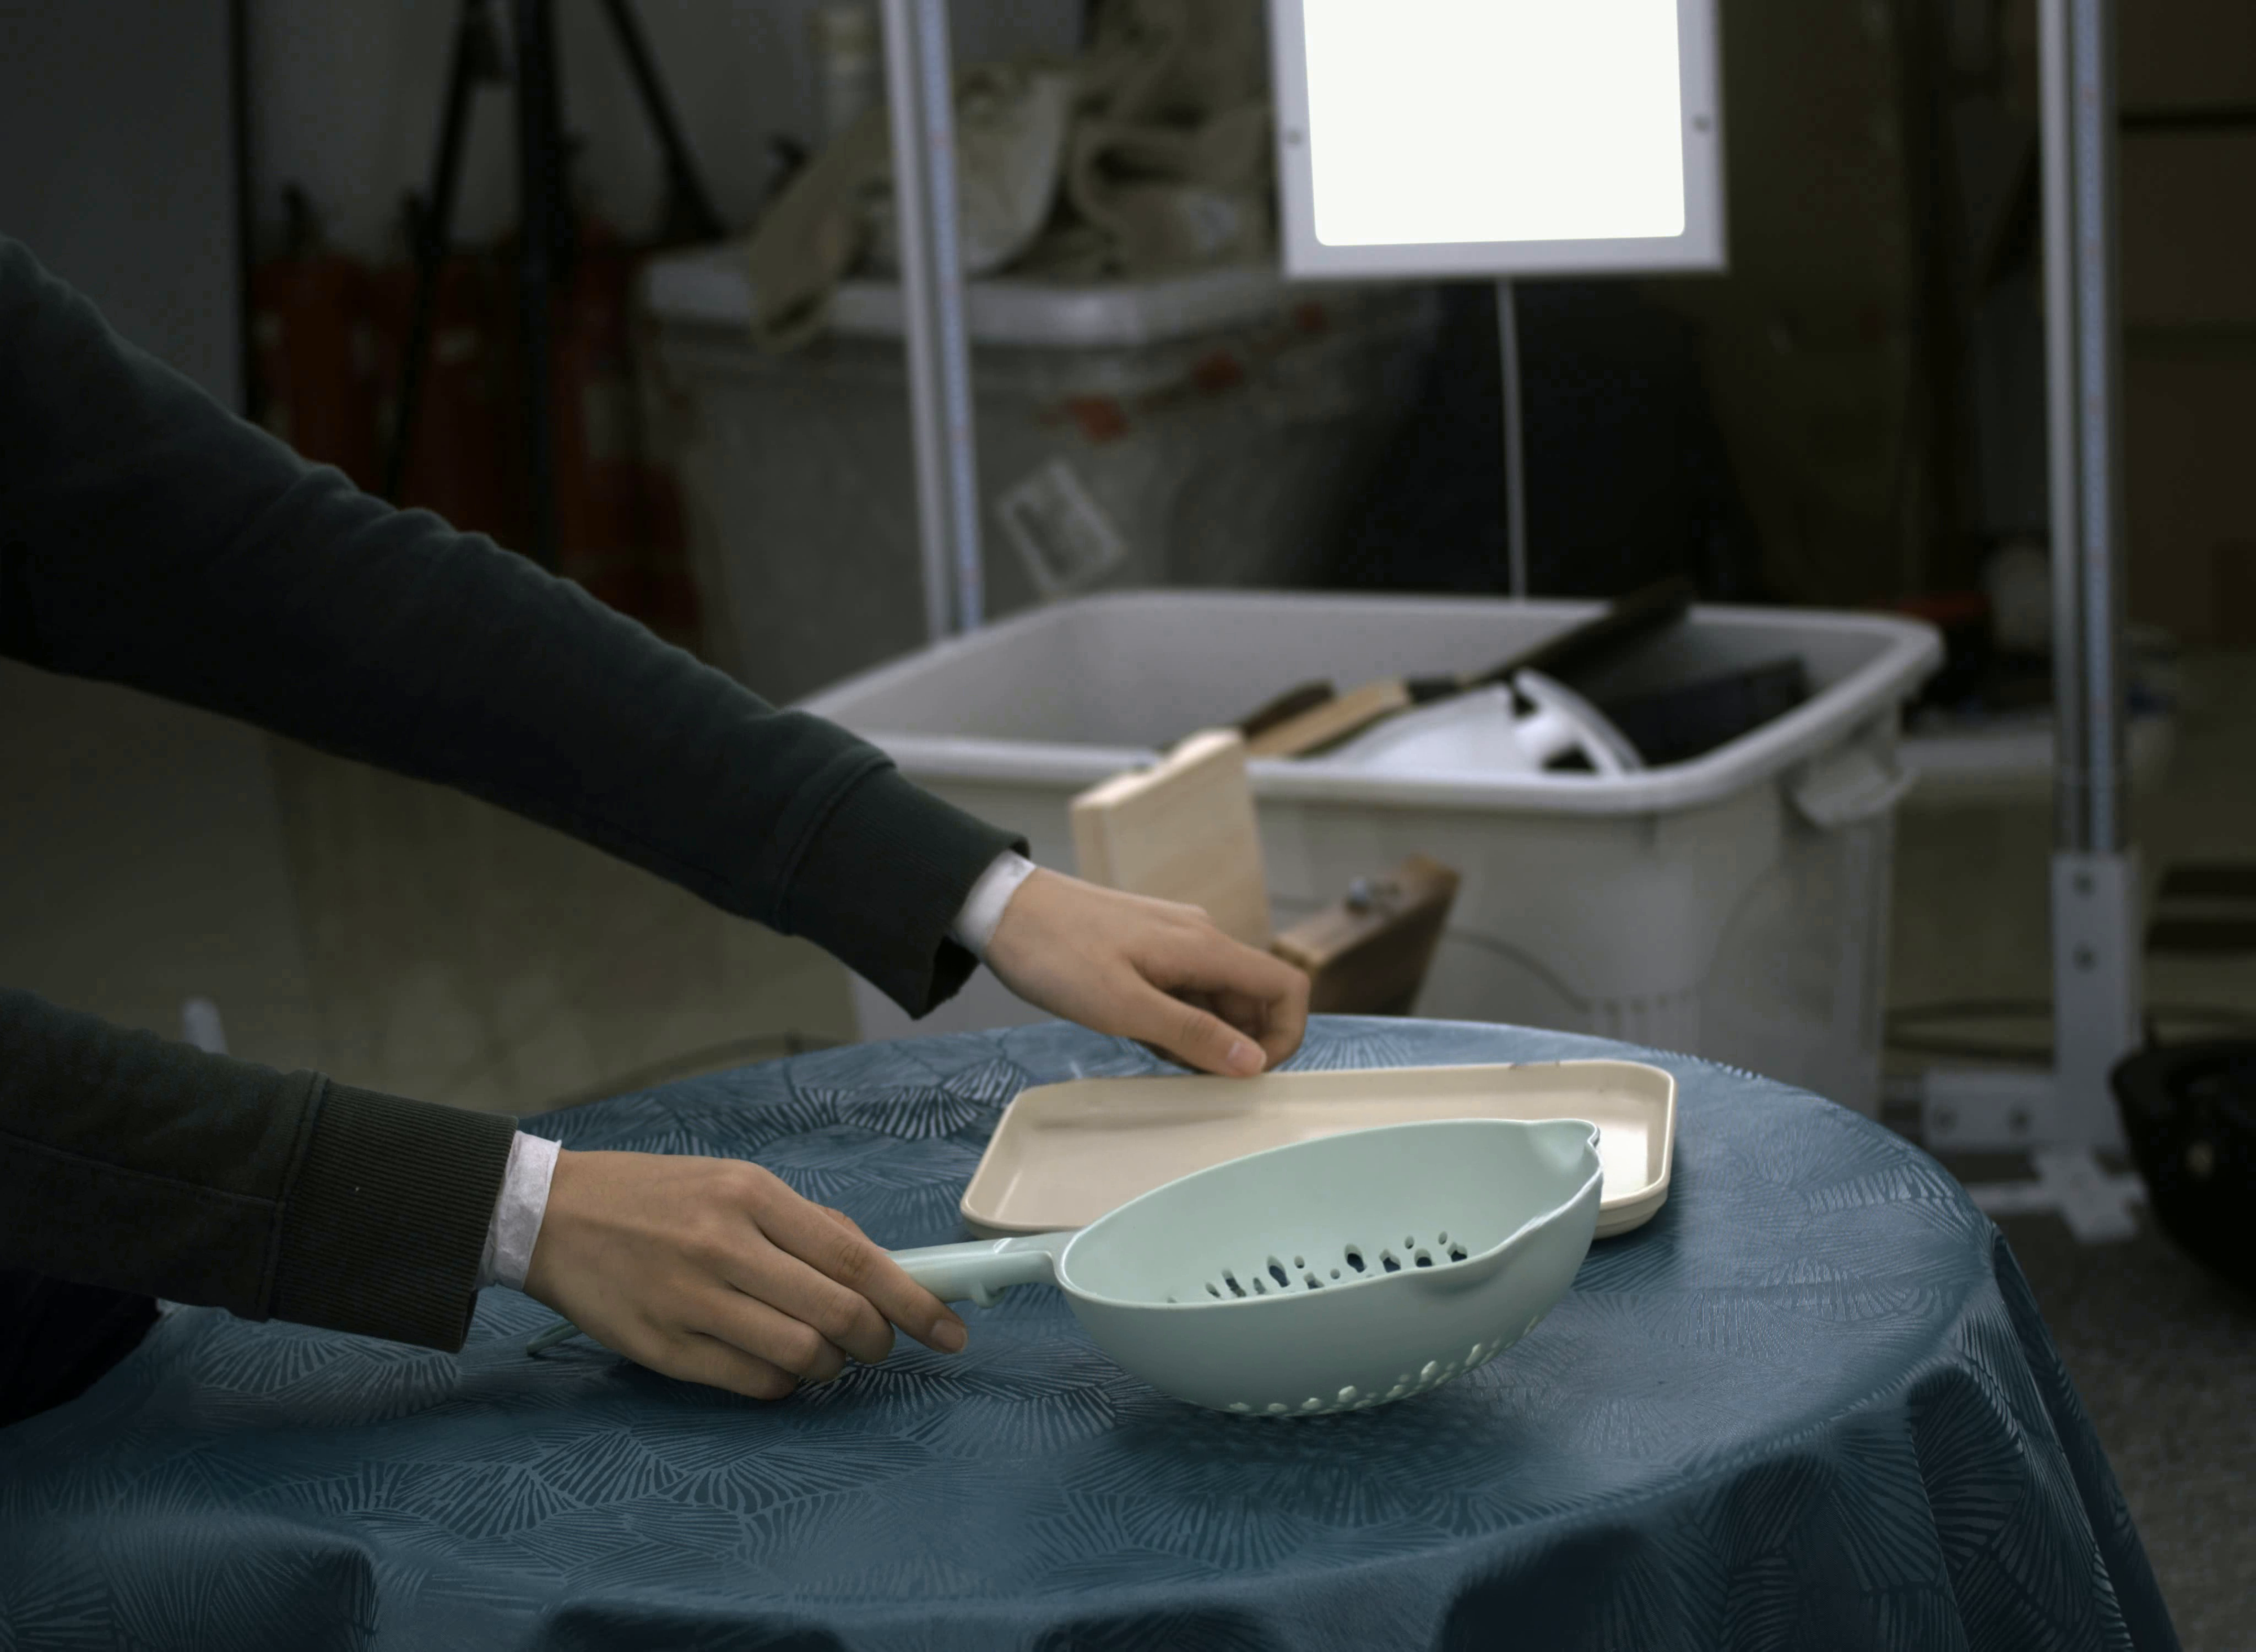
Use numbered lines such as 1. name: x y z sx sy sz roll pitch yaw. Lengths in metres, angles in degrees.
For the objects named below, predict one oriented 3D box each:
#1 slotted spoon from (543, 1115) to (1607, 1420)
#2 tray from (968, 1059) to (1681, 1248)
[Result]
1. slotted spoon: -0.025 0.140 1.714 0.364 0.075 0.166 0 15 22
2. tray: 0.071 0.116 1.883 0.241 0.017 0.170 -4 14 10
